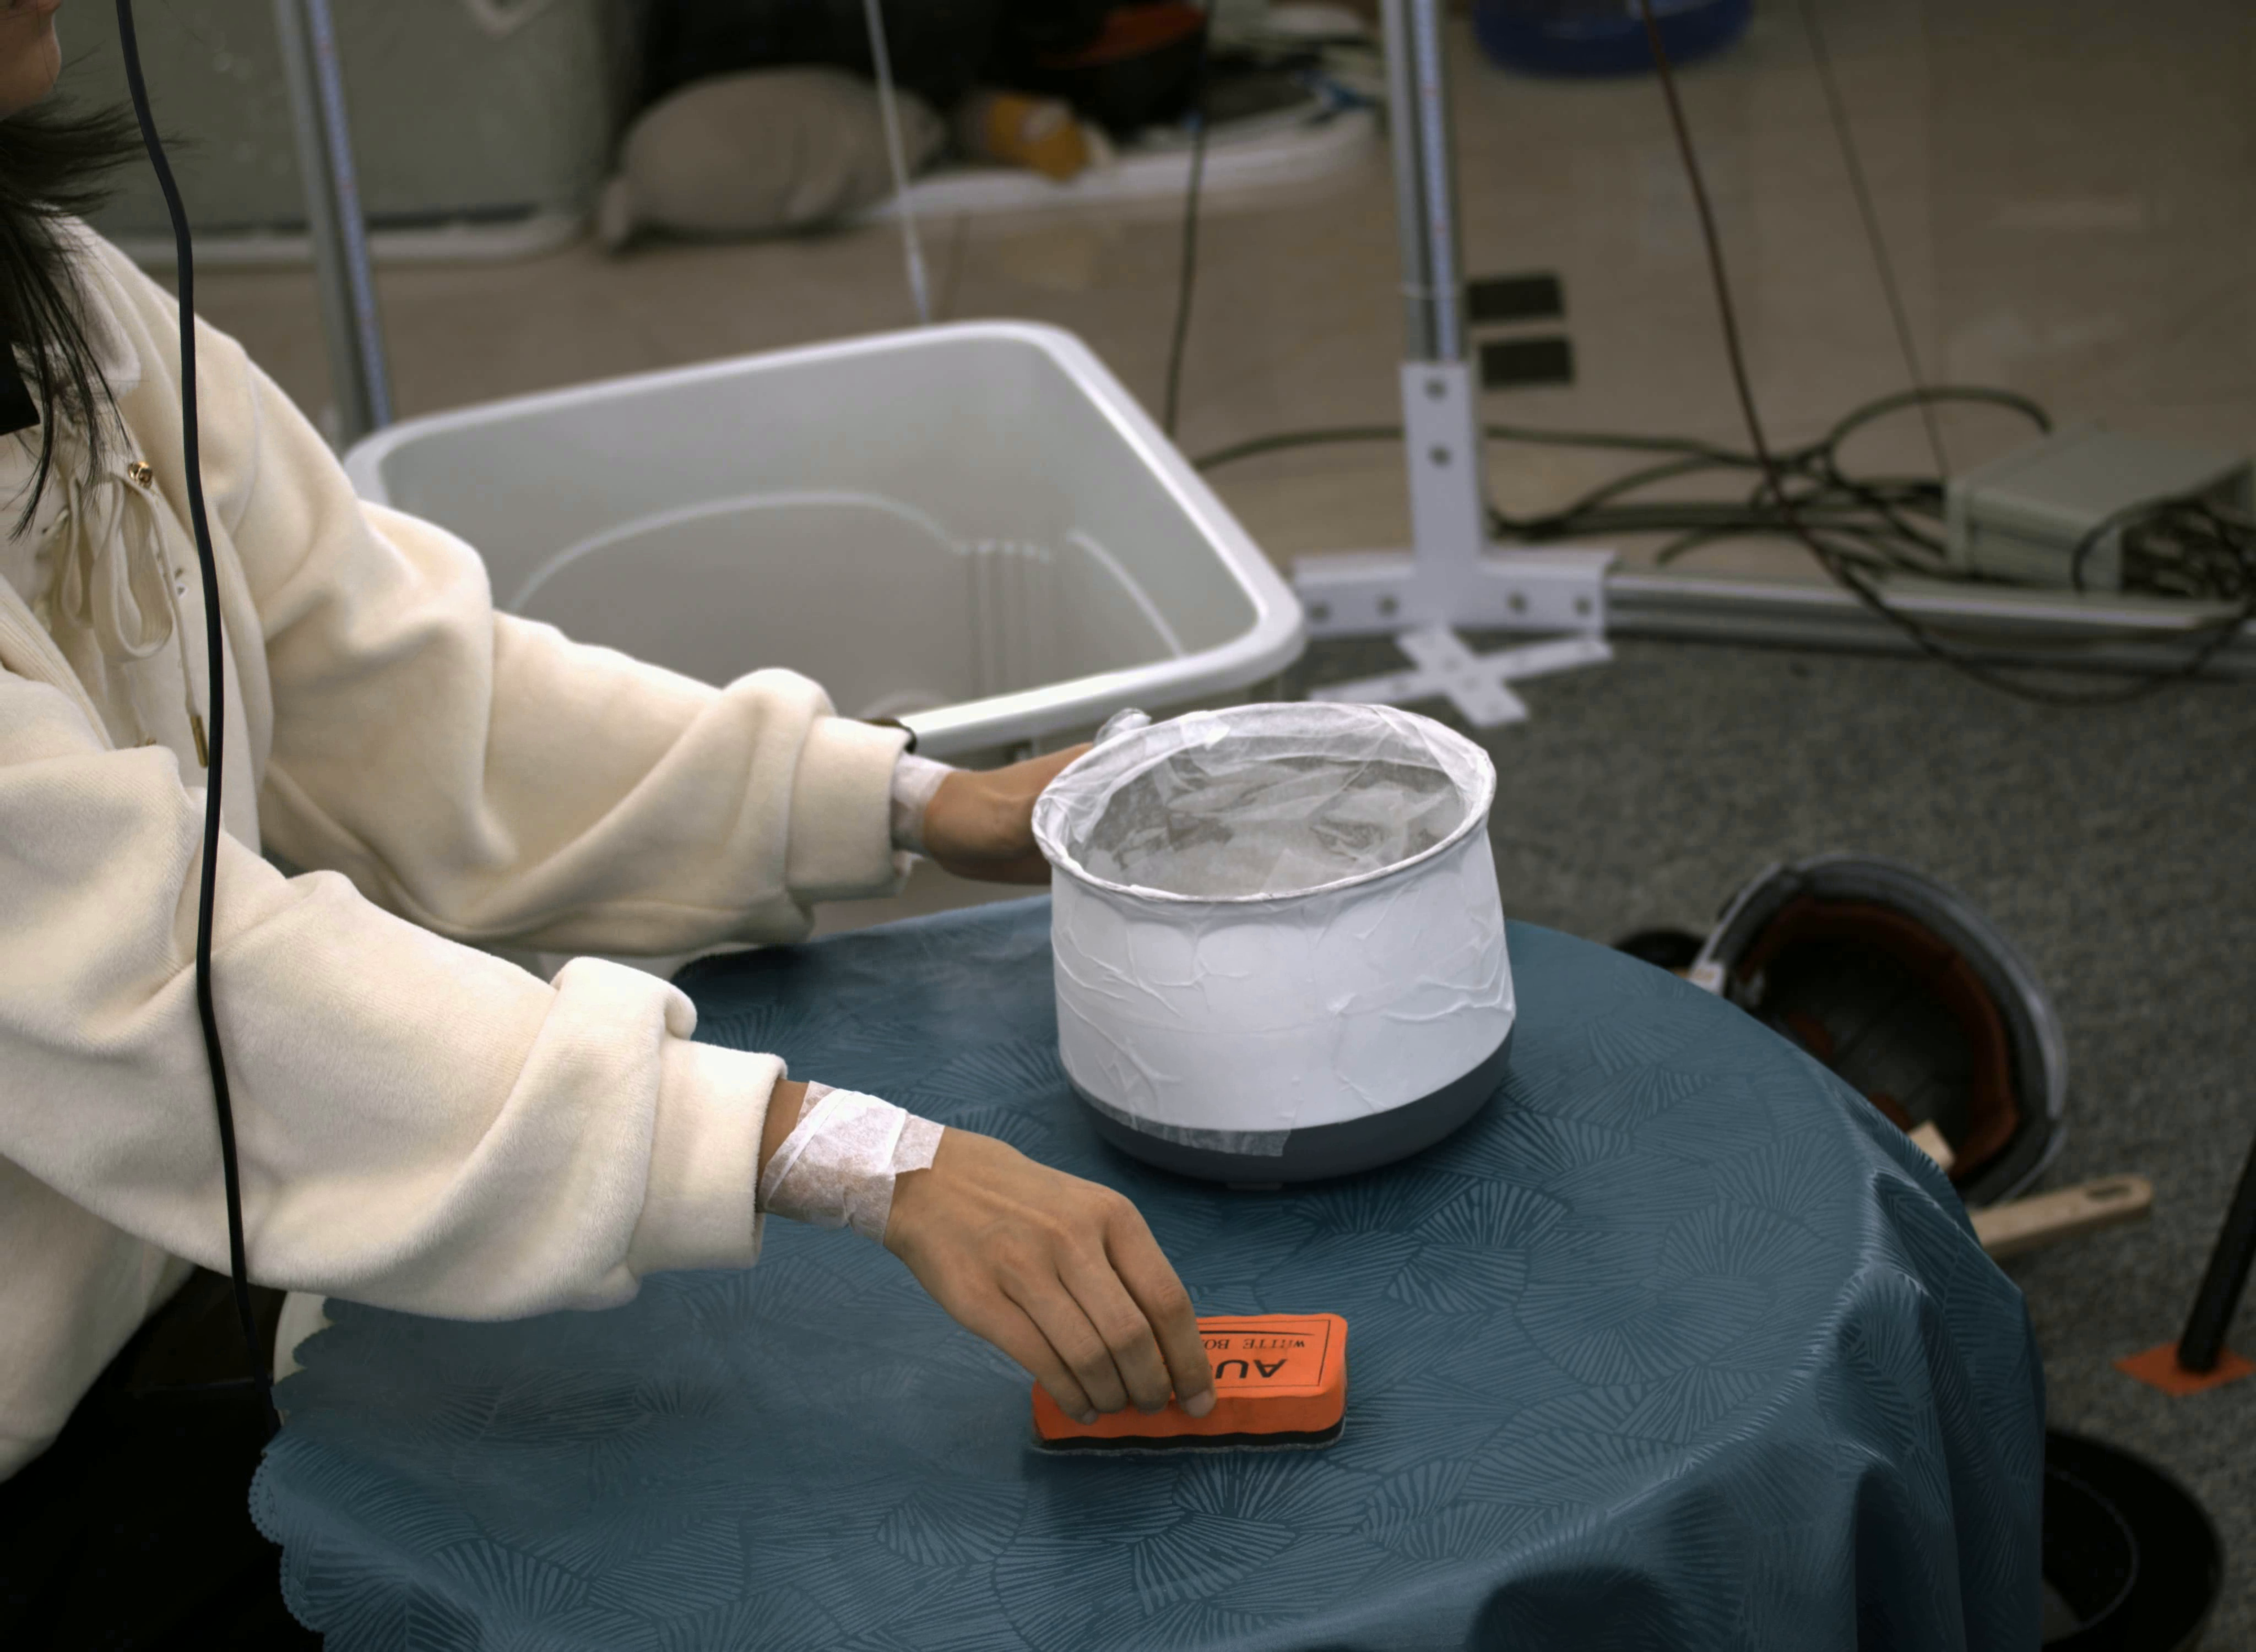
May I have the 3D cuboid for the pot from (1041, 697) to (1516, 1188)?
[{"bbox_3d":[0.044,0.036,2.187,0.178,0.139,0.231,-18,29,-27],"label":"pot"}]

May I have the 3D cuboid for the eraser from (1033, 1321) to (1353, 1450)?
[{"bbox_3d":[0.023,0.196,1.992,0.108,0.023,0.058,-2,20,10],"label":"eraser"}]
